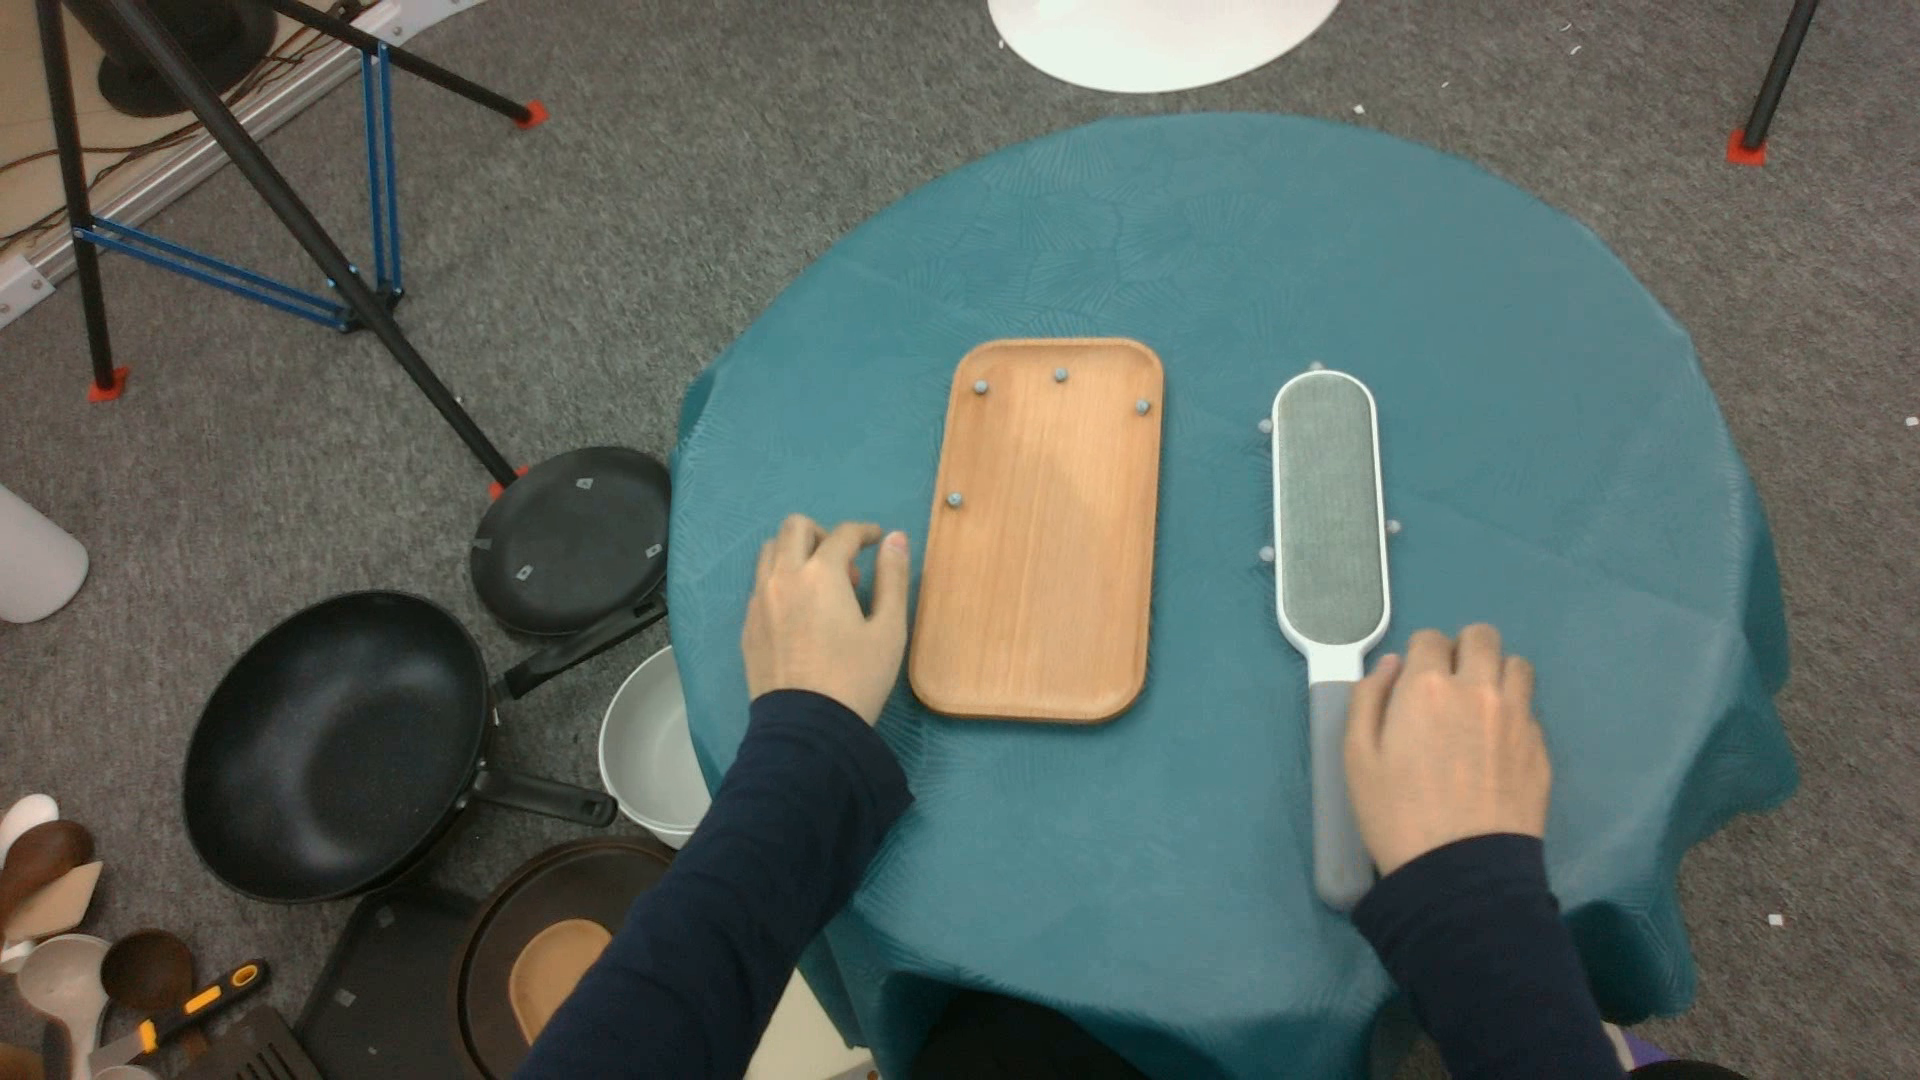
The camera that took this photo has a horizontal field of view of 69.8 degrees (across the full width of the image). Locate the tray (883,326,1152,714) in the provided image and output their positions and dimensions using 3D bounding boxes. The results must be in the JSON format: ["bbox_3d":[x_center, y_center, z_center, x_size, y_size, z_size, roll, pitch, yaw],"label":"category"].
[{"bbox_3d":[0.037,-0.019,0.775,0.130,0.023,0.252,2,59,14],"label":"tray"}]

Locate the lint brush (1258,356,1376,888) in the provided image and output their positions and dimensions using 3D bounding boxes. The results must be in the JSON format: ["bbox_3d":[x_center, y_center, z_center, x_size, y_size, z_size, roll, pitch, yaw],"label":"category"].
[{"bbox_3d":[0.185,0.028,0.714,0.060,0.021,0.310,3,59,6],"label":"lint brush"}]
